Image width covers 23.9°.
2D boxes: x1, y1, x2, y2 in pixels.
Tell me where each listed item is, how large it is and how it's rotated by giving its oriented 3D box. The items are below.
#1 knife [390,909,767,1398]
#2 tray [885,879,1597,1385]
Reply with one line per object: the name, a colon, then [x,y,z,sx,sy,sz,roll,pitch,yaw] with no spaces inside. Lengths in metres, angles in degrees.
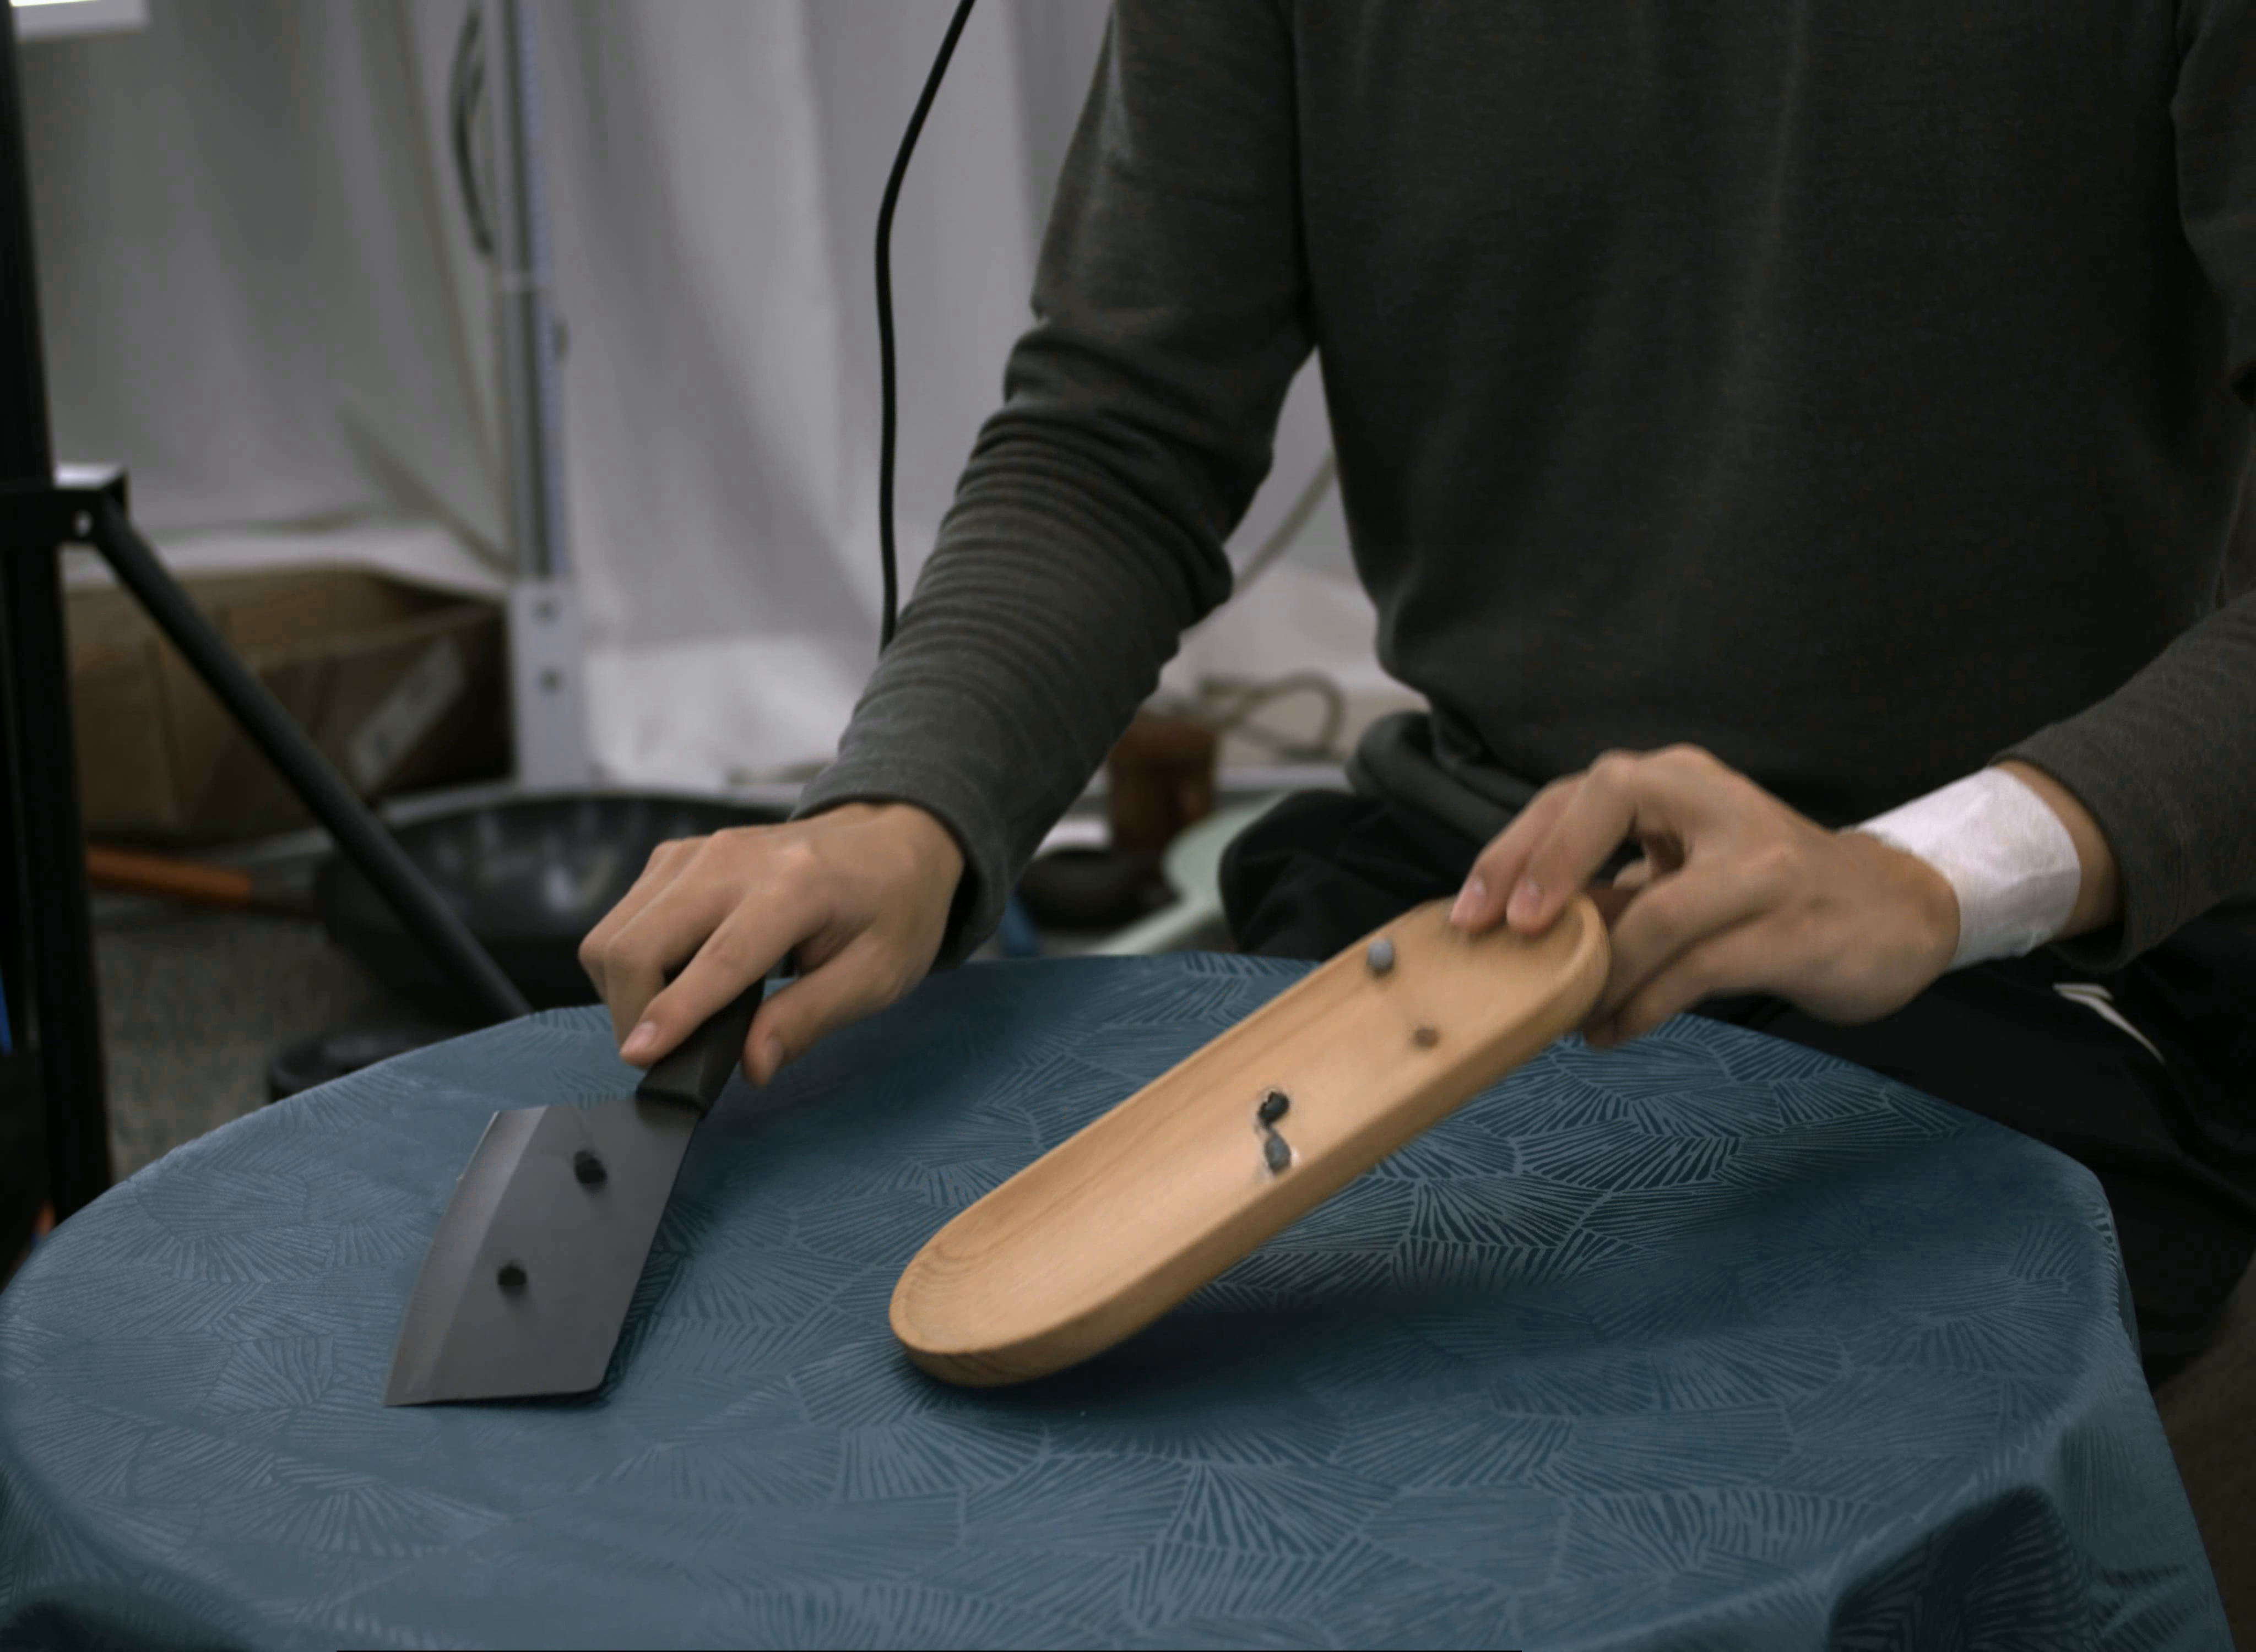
knife: [-0.153,0.093,1.555,0.081,0.021,0.302,-4,22,12]
tray: [0.033,0.083,1.452,0.229,0.020,0.103,-36,20,-18]
